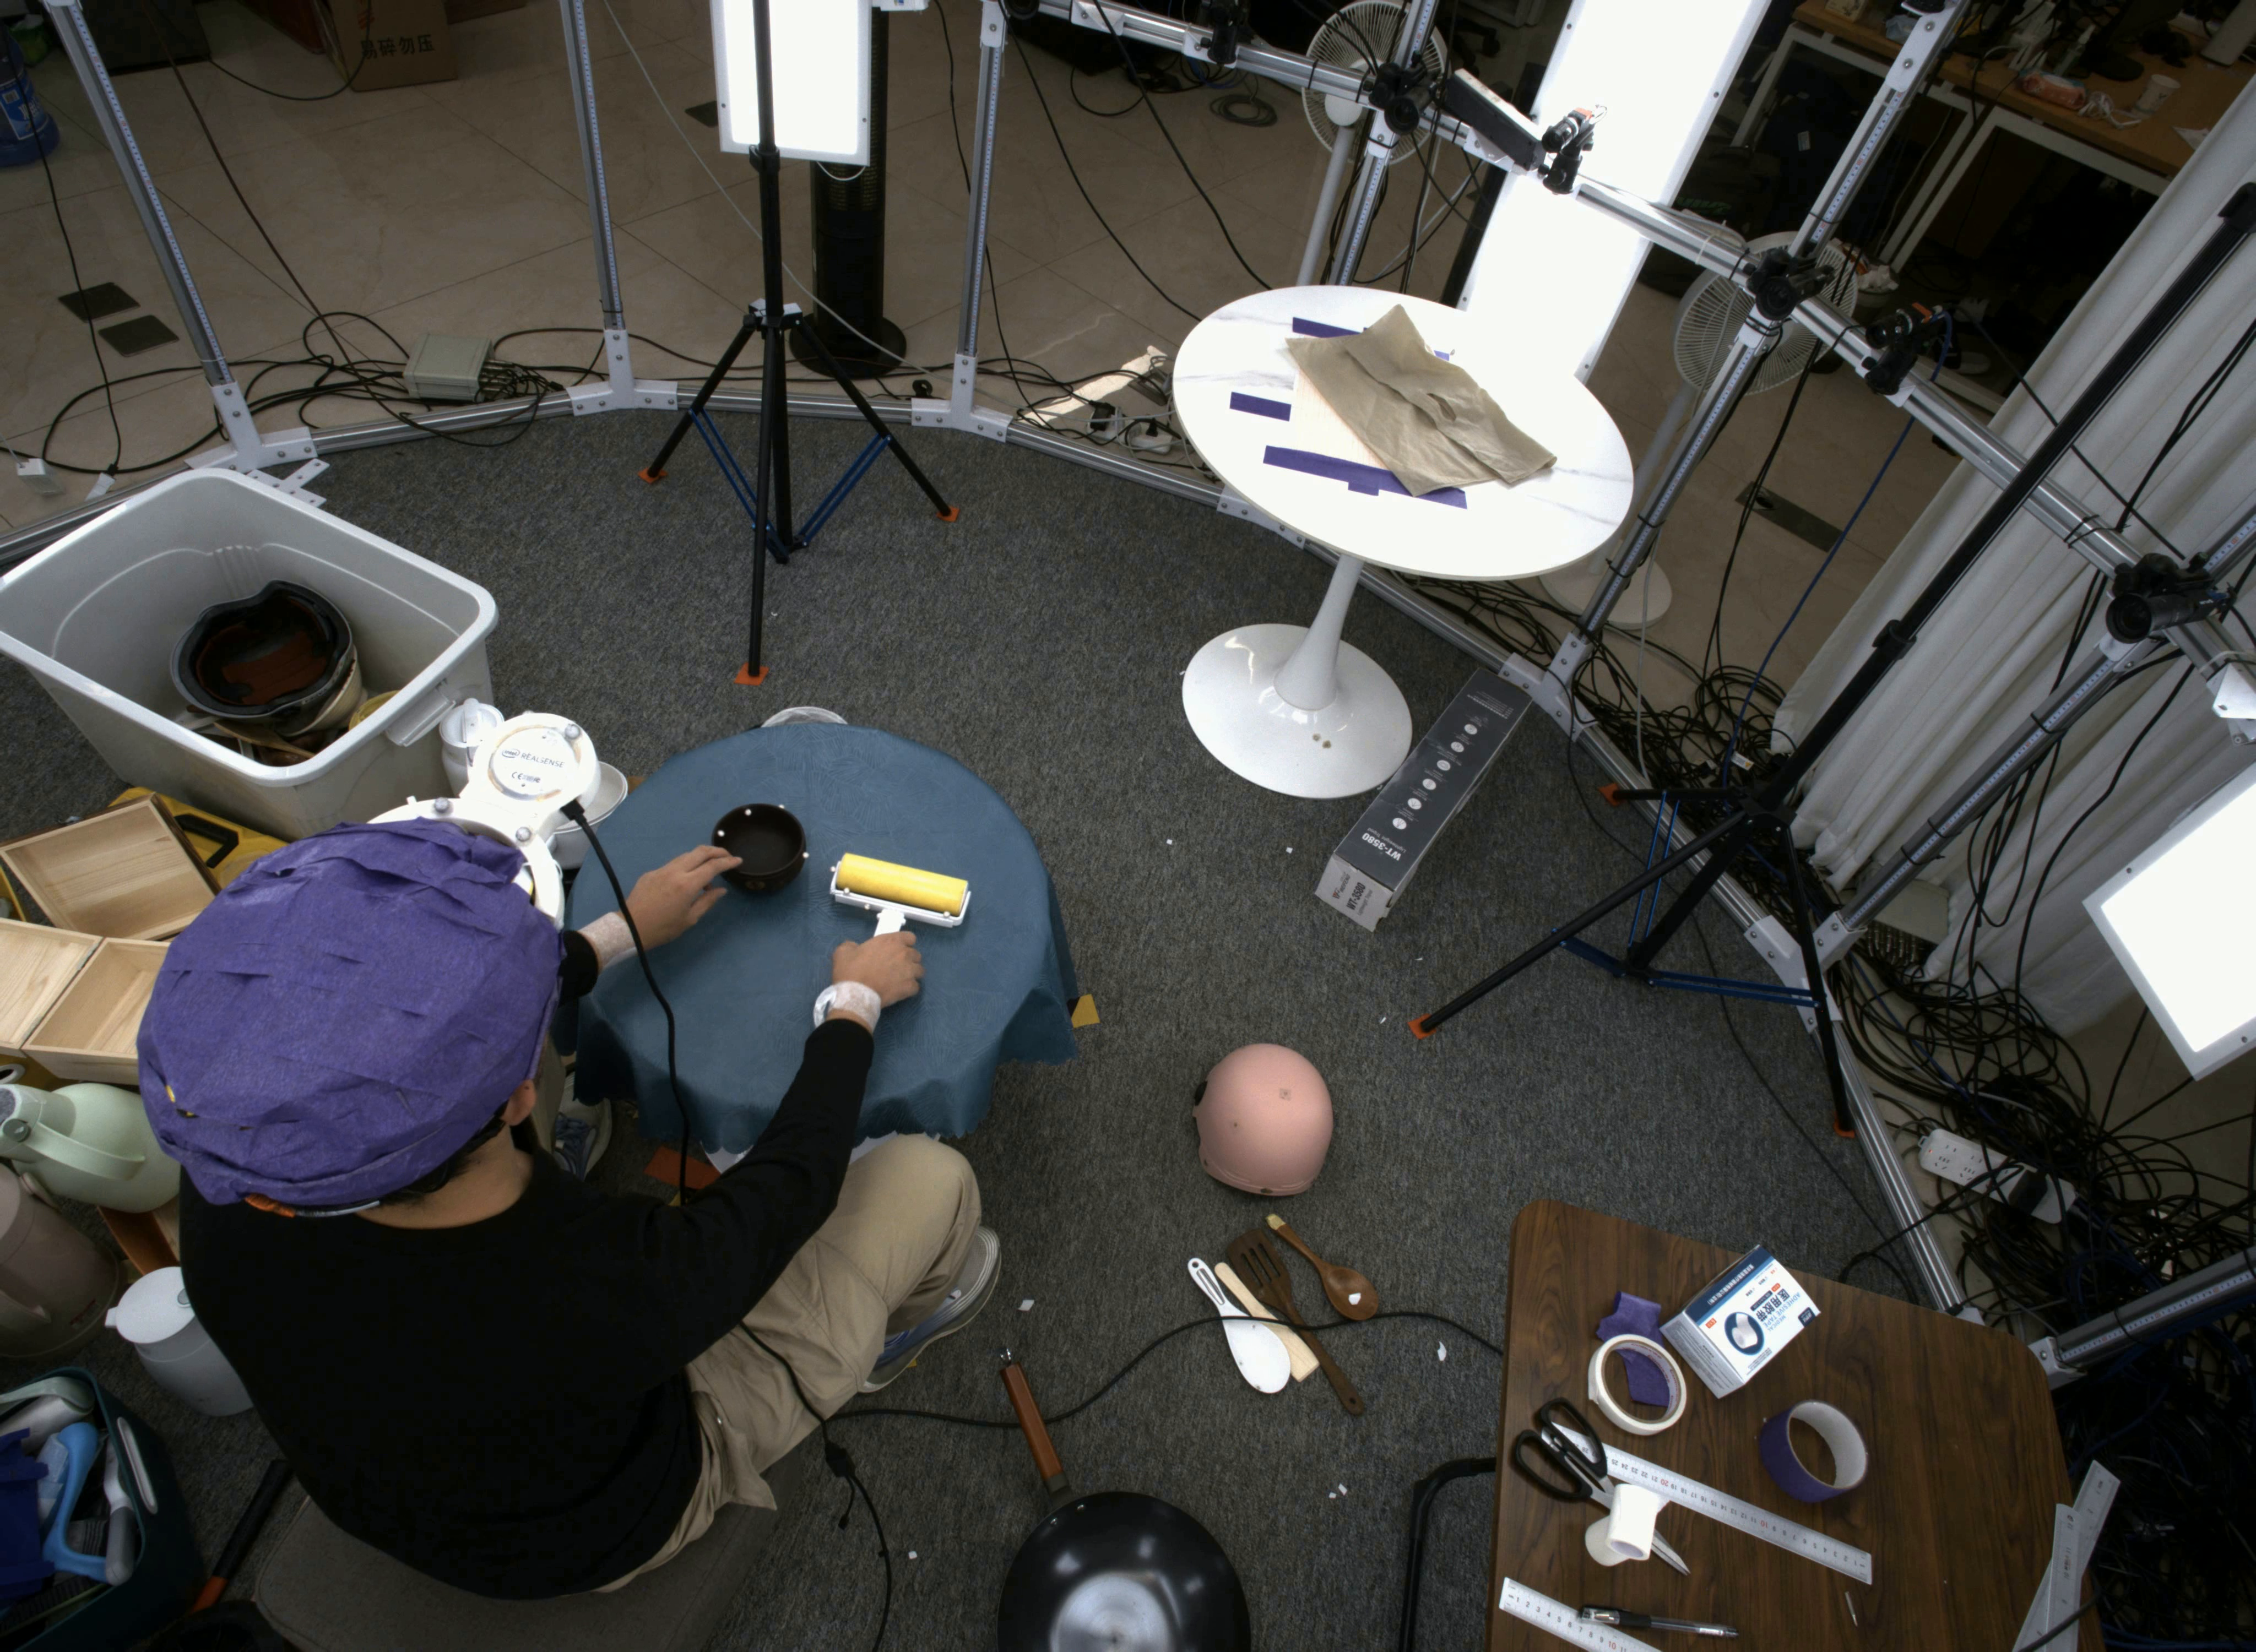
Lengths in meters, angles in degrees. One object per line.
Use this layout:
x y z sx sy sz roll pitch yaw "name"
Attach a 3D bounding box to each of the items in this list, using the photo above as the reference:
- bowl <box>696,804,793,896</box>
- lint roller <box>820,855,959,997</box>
-0.482 0.036 1.628 0.118 0.071 0.116 8 51 -8 "bowl"
-0.309 0.122 1.616 0.173 0.052 0.188 12 42 -6 "lint roller"
